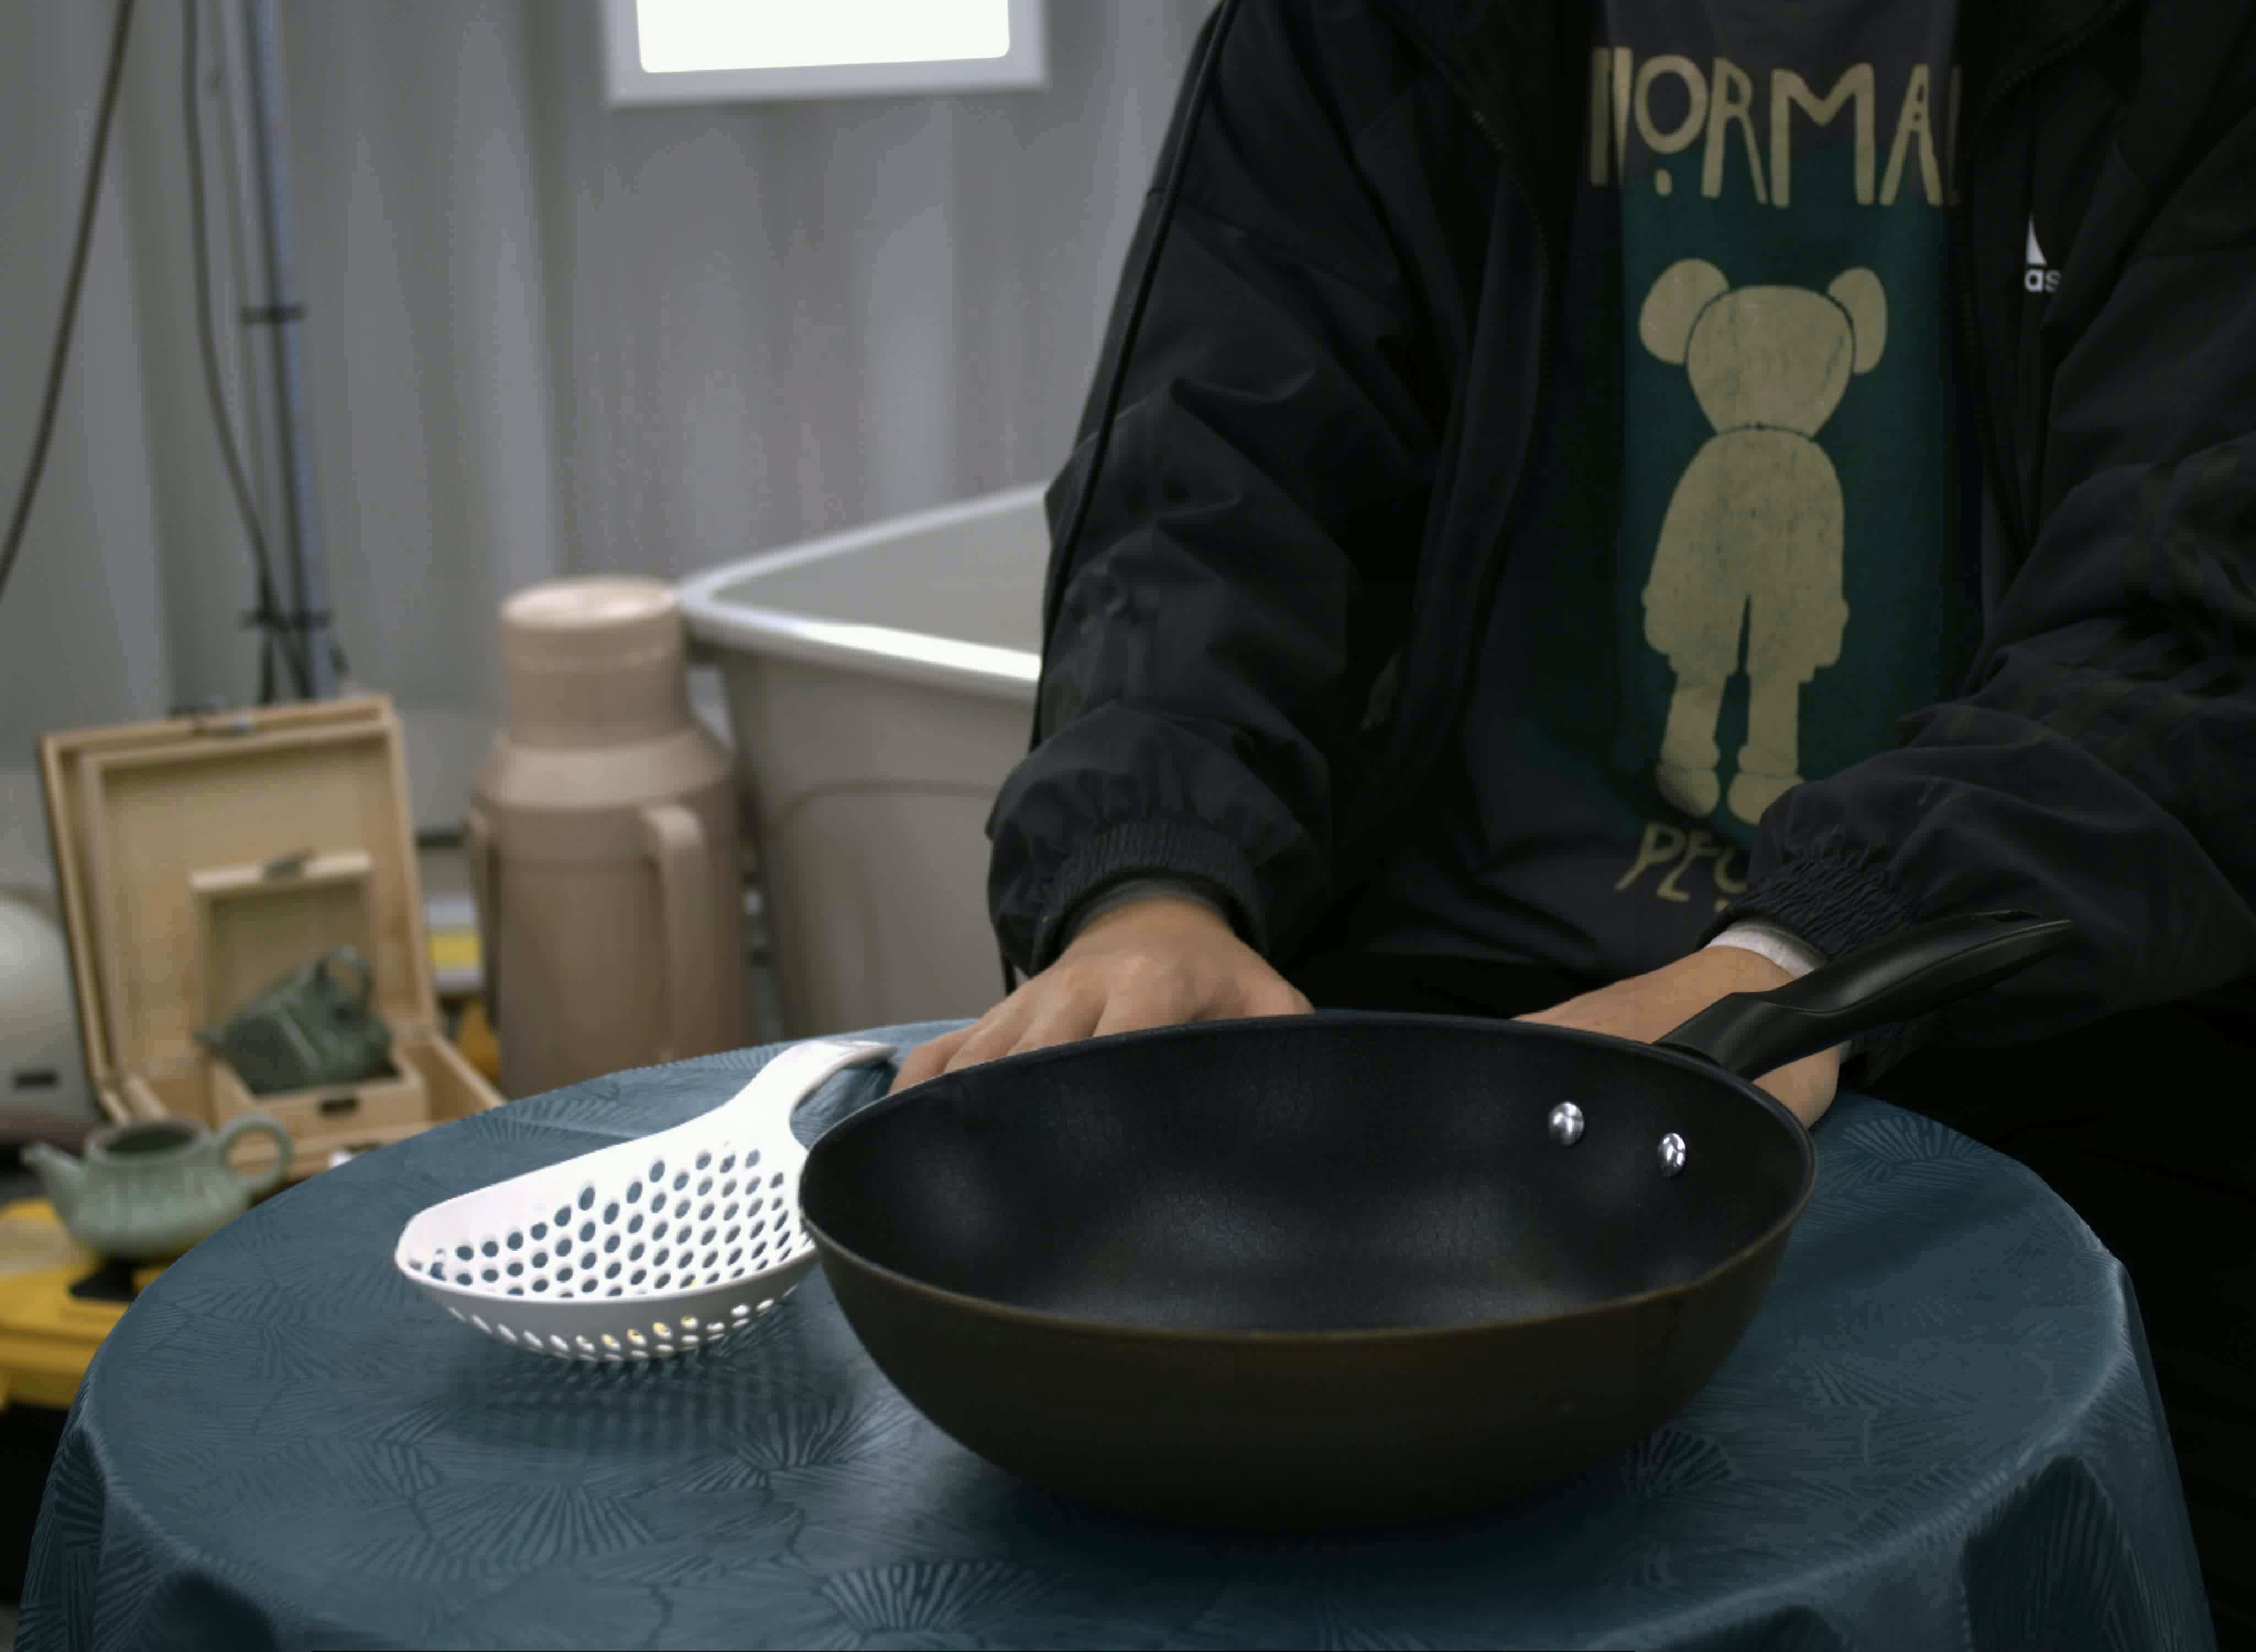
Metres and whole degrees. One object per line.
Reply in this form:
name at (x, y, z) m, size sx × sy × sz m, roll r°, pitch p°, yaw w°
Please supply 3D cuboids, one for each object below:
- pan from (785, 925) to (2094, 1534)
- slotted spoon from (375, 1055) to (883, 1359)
pan at (0.114, 0.109, 1.553) m, size 0.462 × 0.086 × 0.290 m, roll -14°, pitch 19°, yaw -40°
slotted spoon at (-0.122, 0.104, 1.697) m, size 0.136 × 0.050 × 0.349 m, roll -1°, pitch 15°, yaw 14°
